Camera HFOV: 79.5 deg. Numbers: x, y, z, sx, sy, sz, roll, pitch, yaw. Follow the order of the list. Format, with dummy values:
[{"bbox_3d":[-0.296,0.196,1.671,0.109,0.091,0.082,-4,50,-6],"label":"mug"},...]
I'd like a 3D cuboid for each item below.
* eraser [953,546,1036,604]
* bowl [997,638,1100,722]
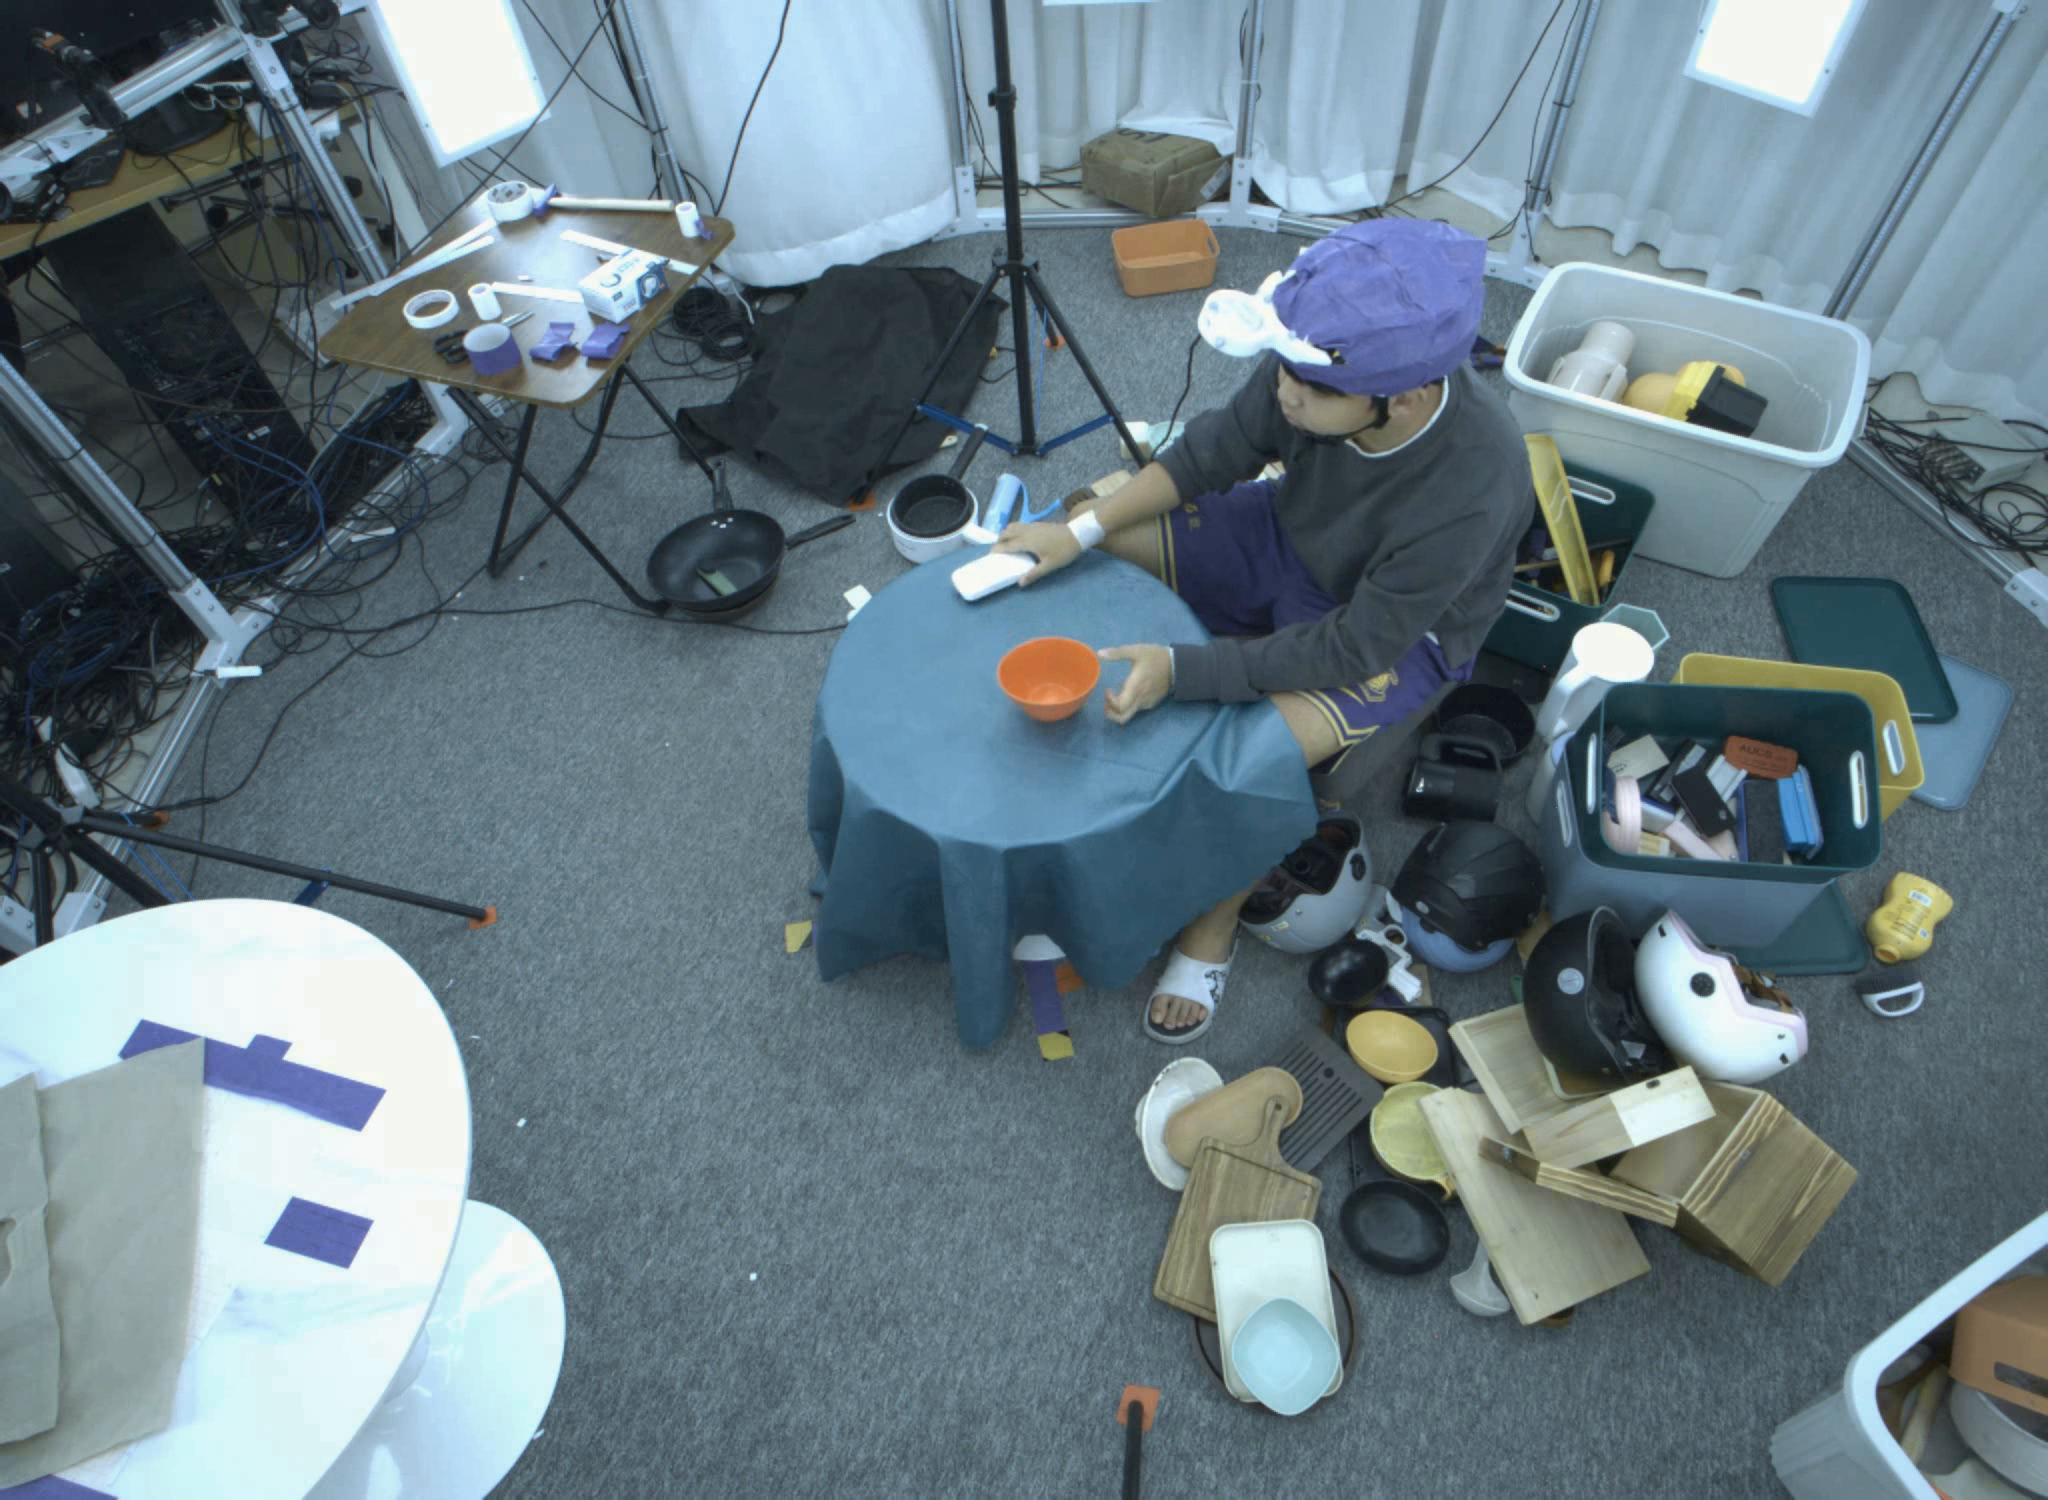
[{"bbox_3d":[-0.047,-0.282,1.972,0.132,0.035,0.062,-25,58,-13],"label":"eraser"},{"bbox_3d":[0.037,-0.089,1.791,0.148,0.106,0.146,-1,53,2],"label":"bowl"}]
